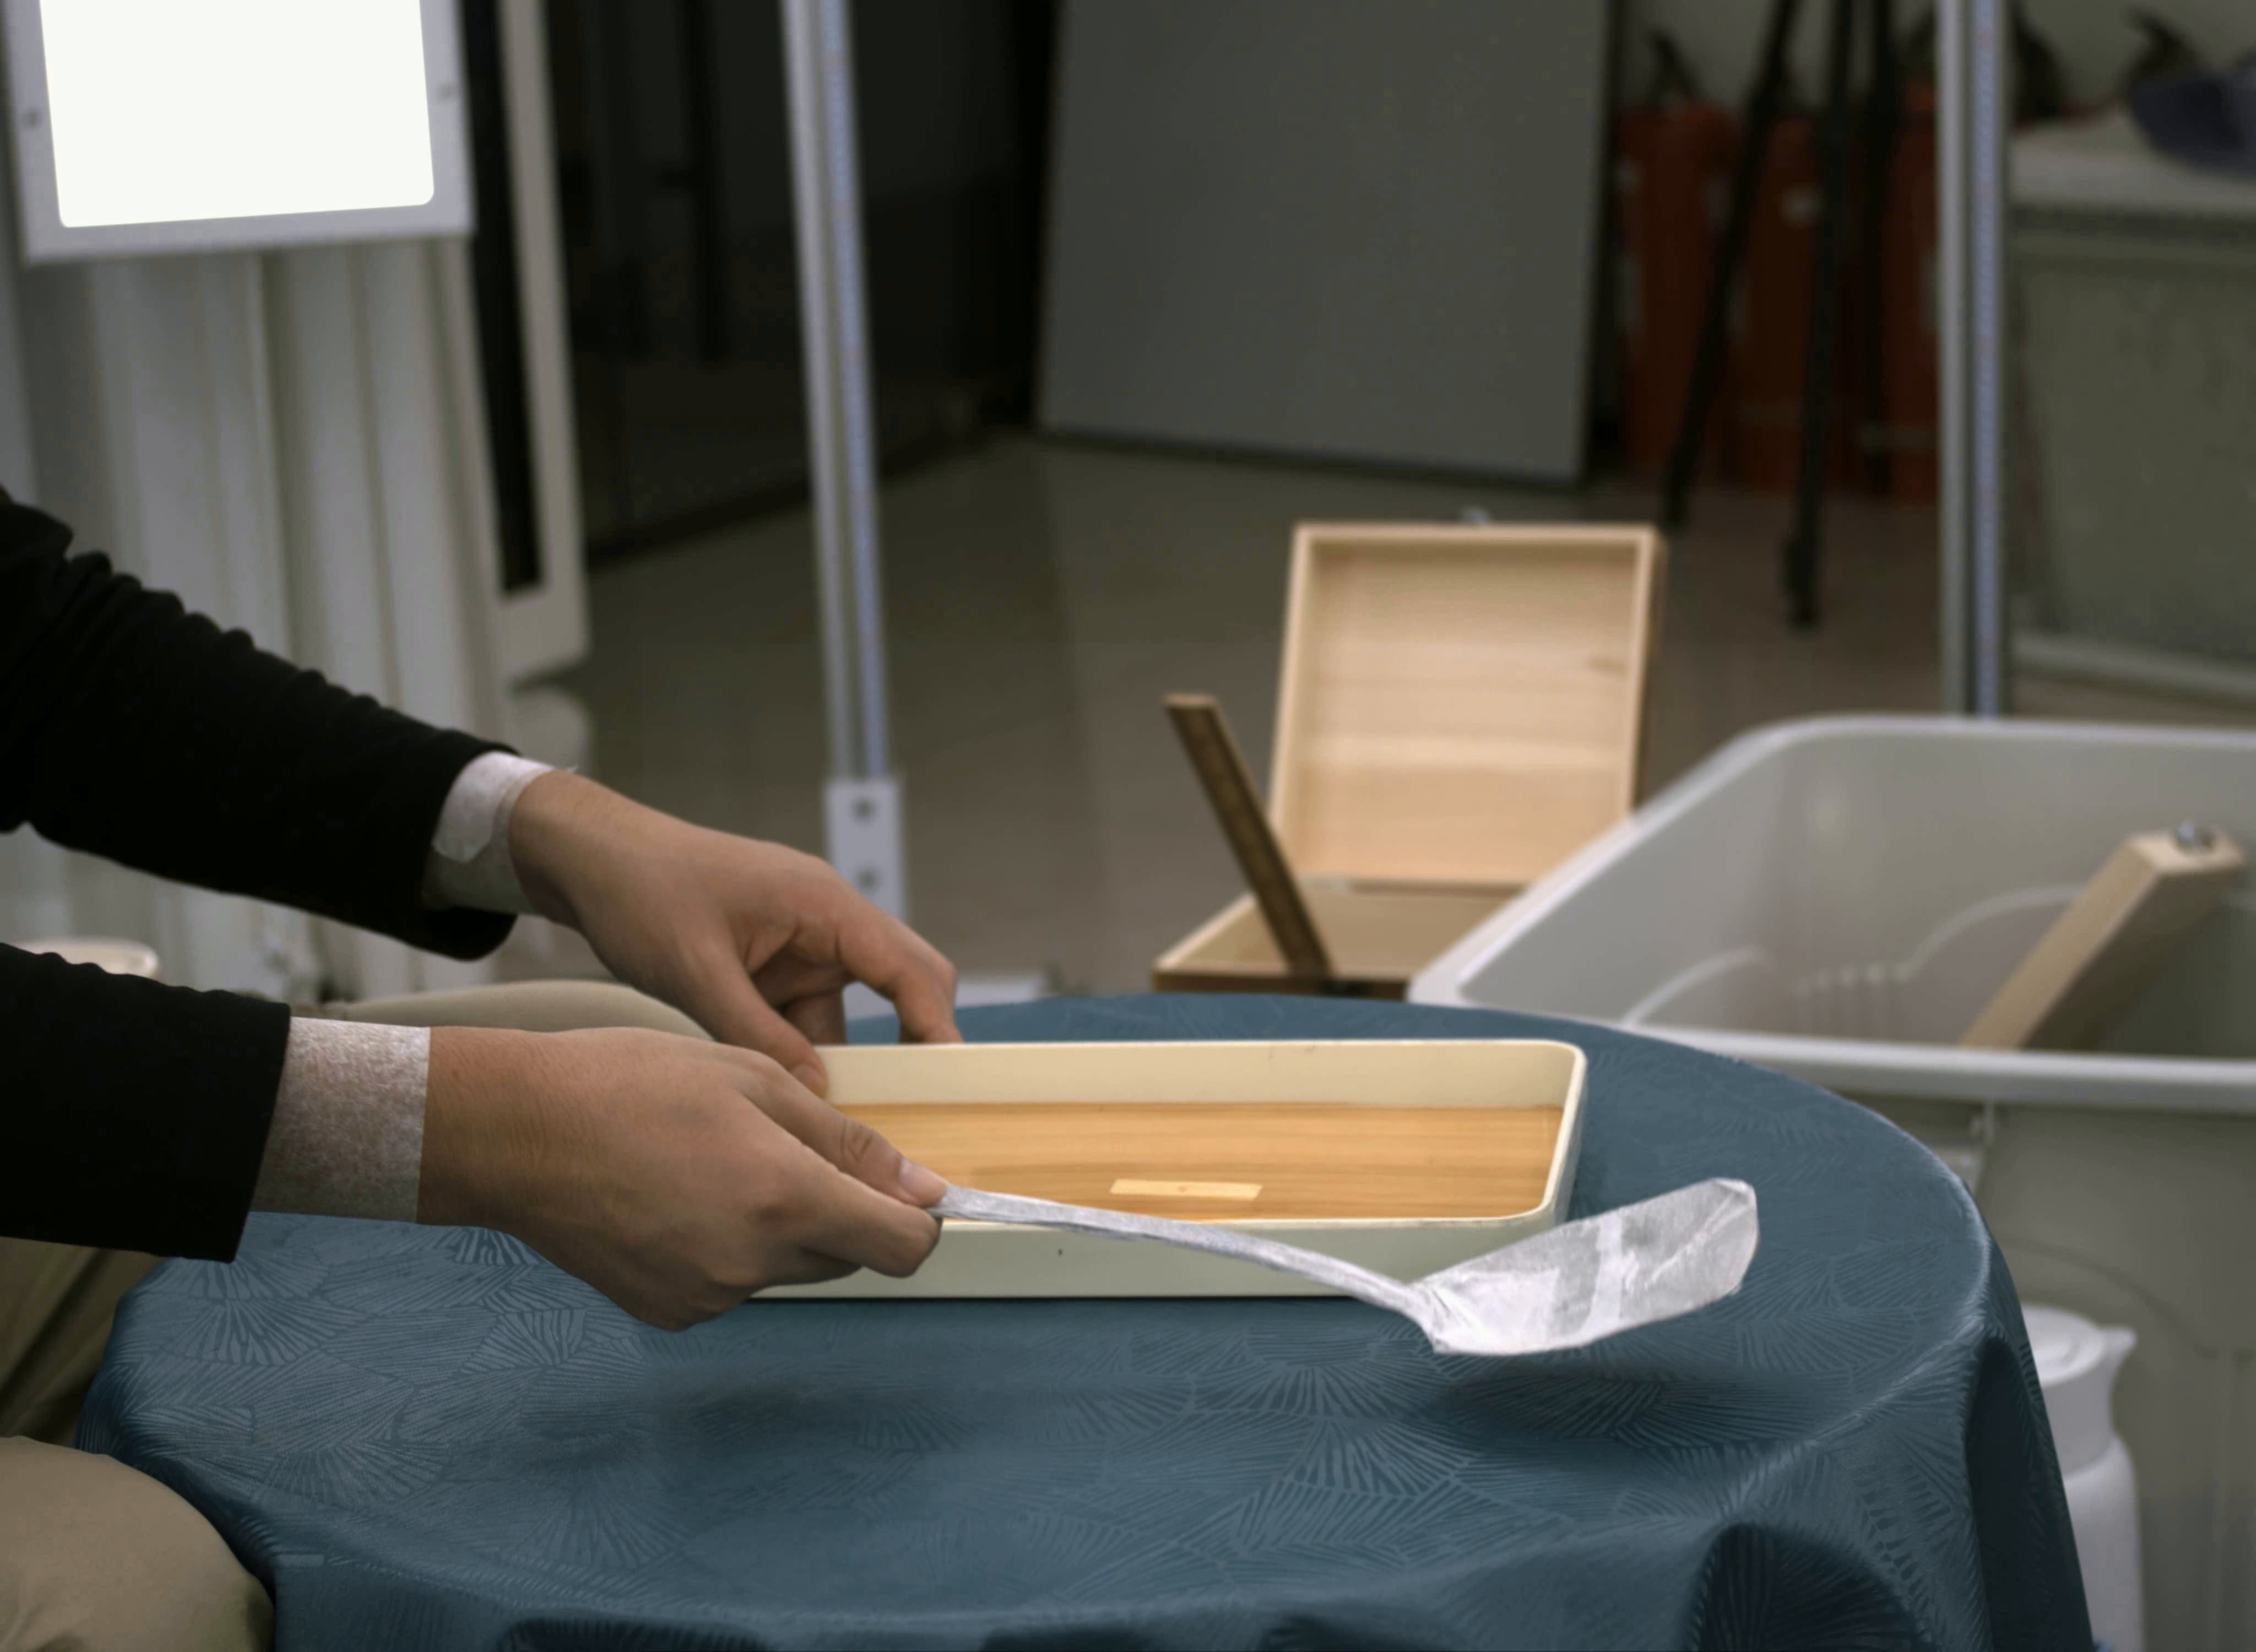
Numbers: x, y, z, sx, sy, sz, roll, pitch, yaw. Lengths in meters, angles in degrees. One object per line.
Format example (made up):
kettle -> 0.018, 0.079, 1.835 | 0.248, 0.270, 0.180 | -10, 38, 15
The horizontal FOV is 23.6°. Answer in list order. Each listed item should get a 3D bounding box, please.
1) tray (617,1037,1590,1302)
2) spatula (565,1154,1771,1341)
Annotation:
tray -> -0.003, 0.111, 1.752 | 0.298, 0.028, 0.191 | -2, 14, 11
spatula -> 0.005, 0.111, 1.575 | 0.362, 0.045, 0.098 | 7, 21, 11
